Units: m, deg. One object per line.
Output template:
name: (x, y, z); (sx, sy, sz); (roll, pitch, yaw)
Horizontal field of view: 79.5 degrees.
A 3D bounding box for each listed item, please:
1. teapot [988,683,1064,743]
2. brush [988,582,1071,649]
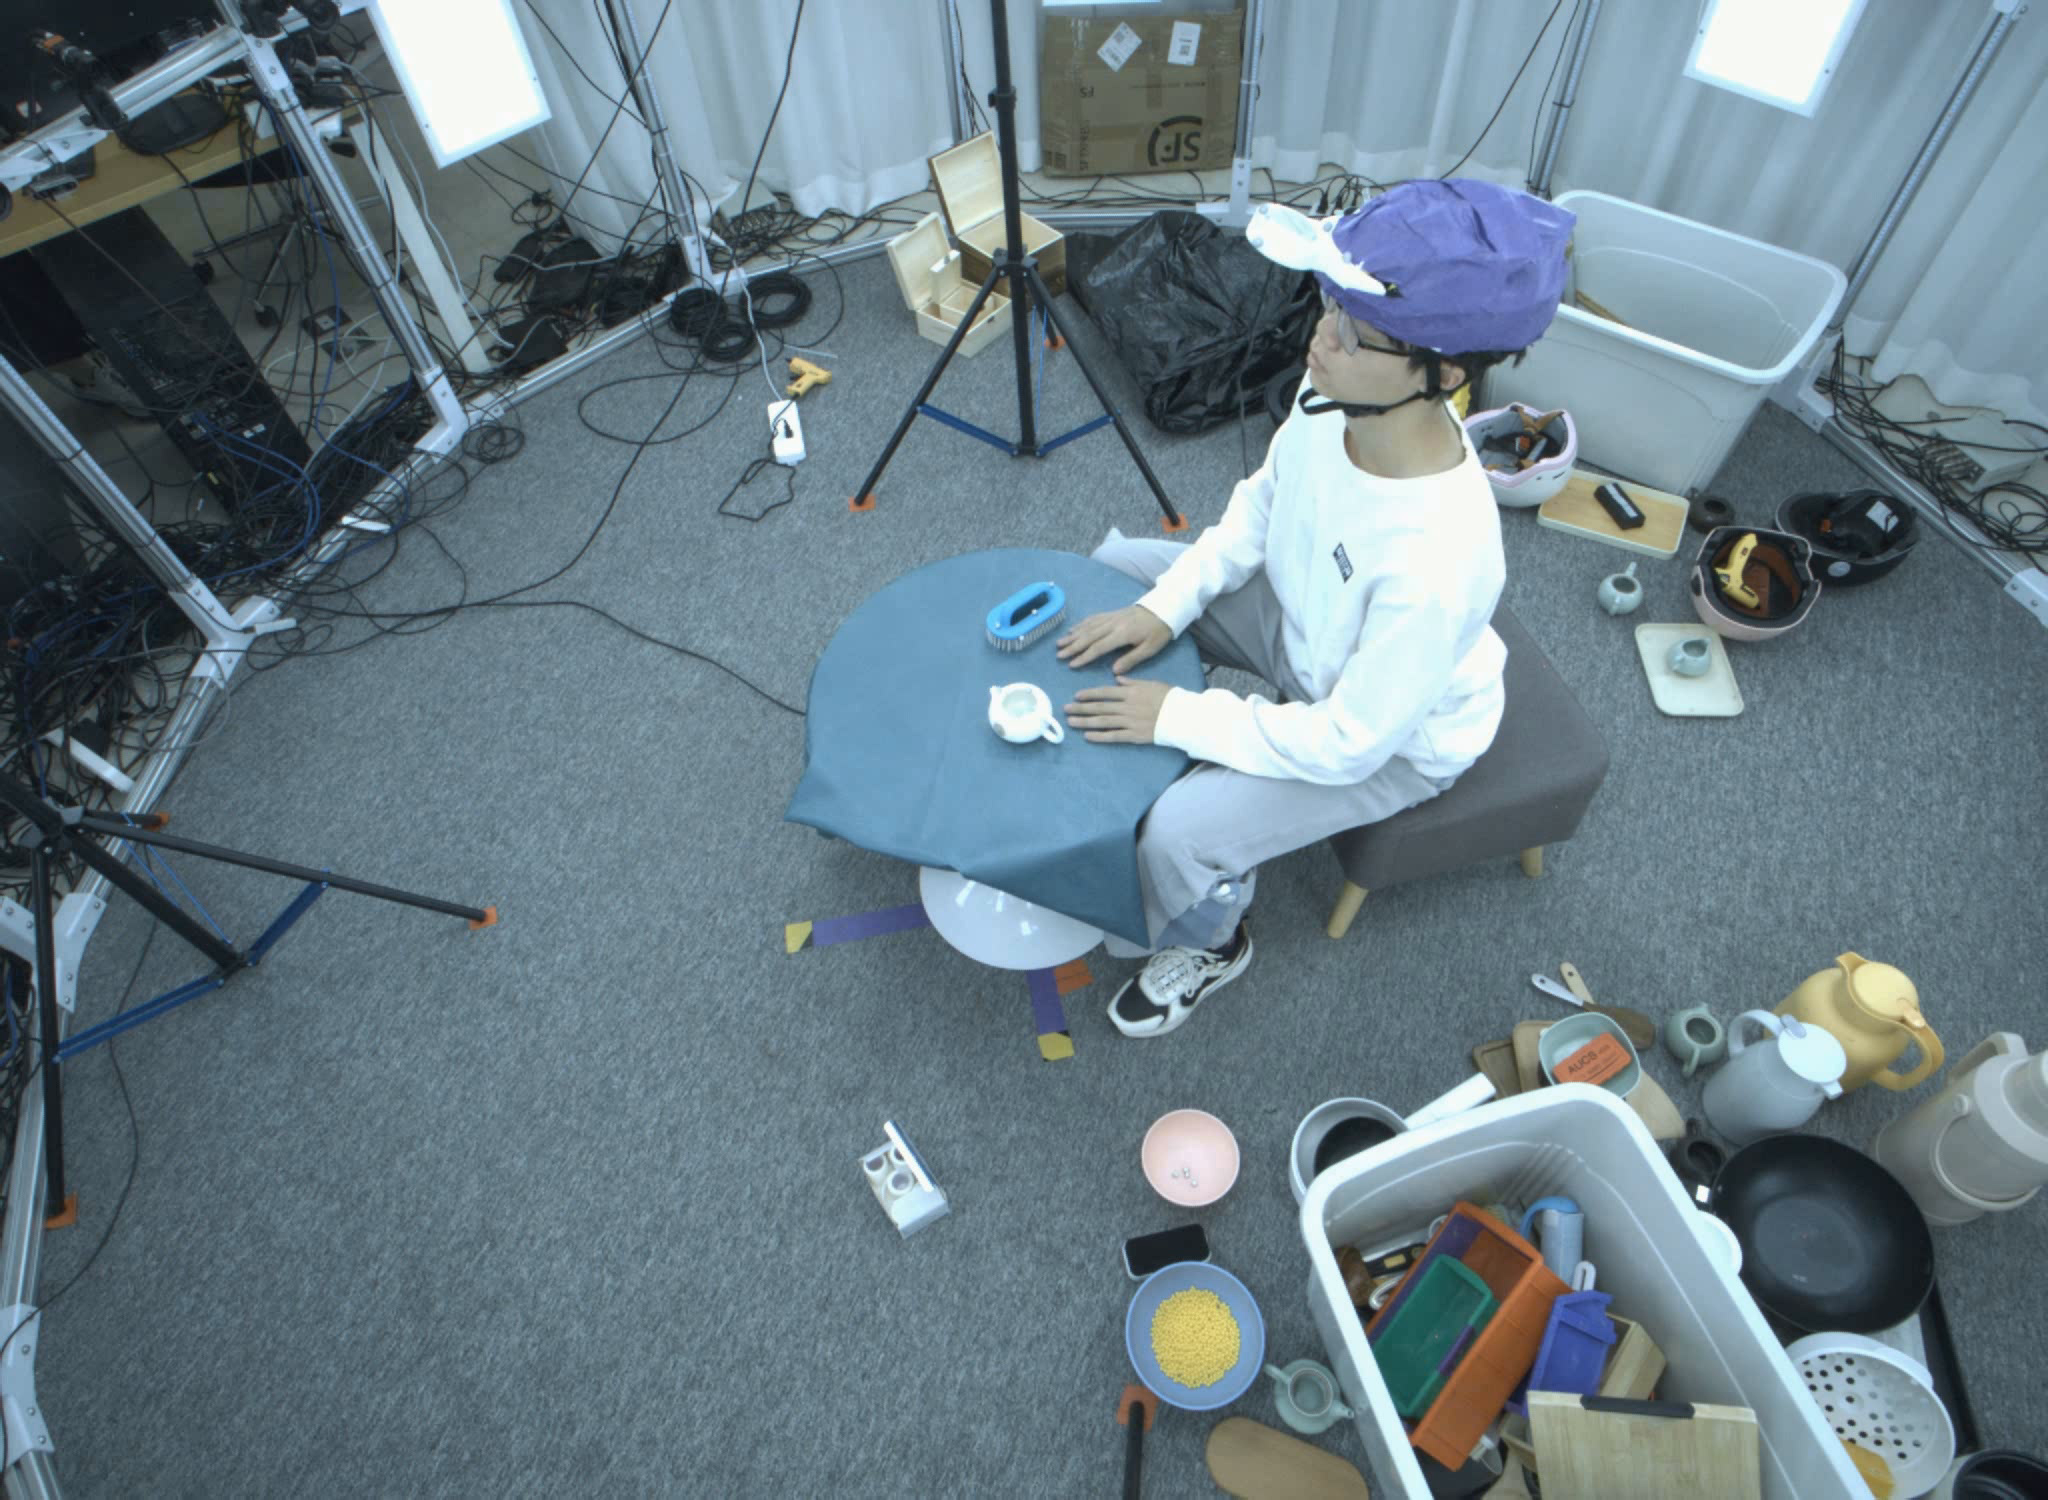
teapot: (0.004, -0.050, 1.787); (0.125, 0.057, 0.094); (25, 55, 17)
brush: (0.004, -0.221, 1.902); (0.143, 0.064, 0.082); (-34, 55, -21)
